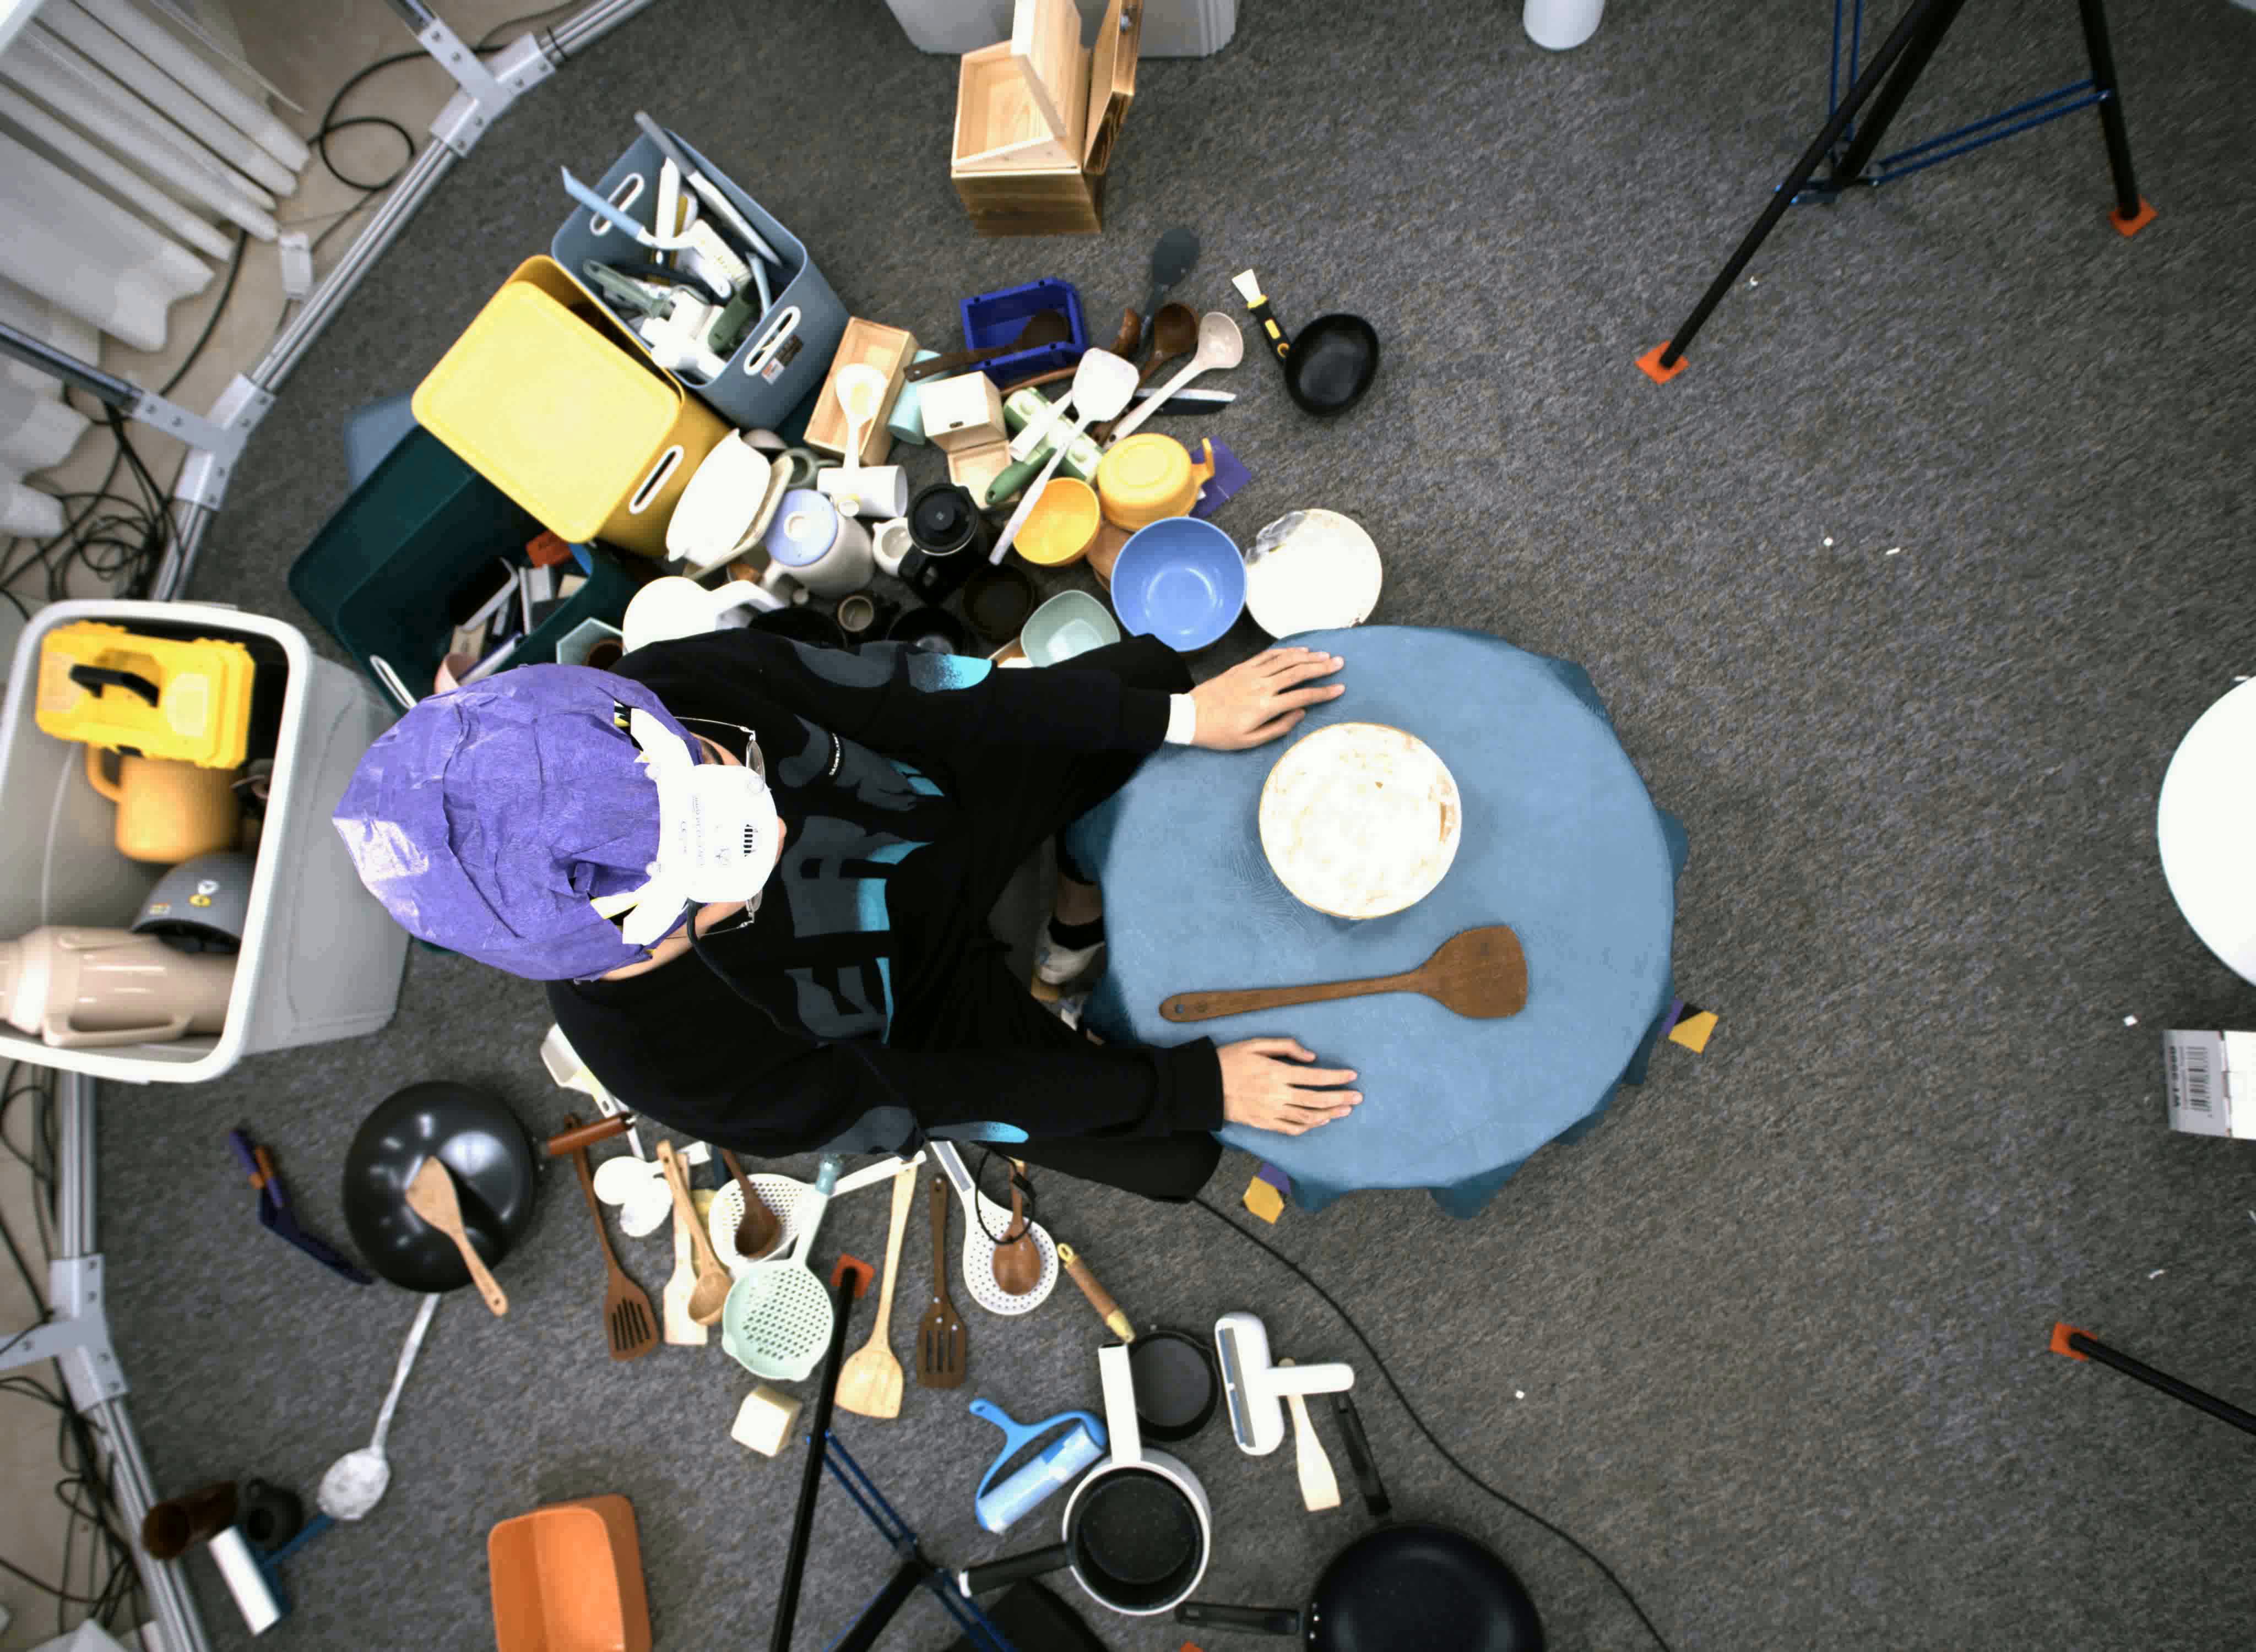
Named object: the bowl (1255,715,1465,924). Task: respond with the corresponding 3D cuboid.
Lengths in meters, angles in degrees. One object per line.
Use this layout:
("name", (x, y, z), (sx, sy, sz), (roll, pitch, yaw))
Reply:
("bowl", (0.240, -0.004, 1.427), (0.215, 0.094, 0.214), (-1, 87, 11))

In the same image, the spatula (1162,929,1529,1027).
("spatula", (0.225, 0.175, 1.459), (0.388, 0.016, 0.095), (-8, 84, 10))
